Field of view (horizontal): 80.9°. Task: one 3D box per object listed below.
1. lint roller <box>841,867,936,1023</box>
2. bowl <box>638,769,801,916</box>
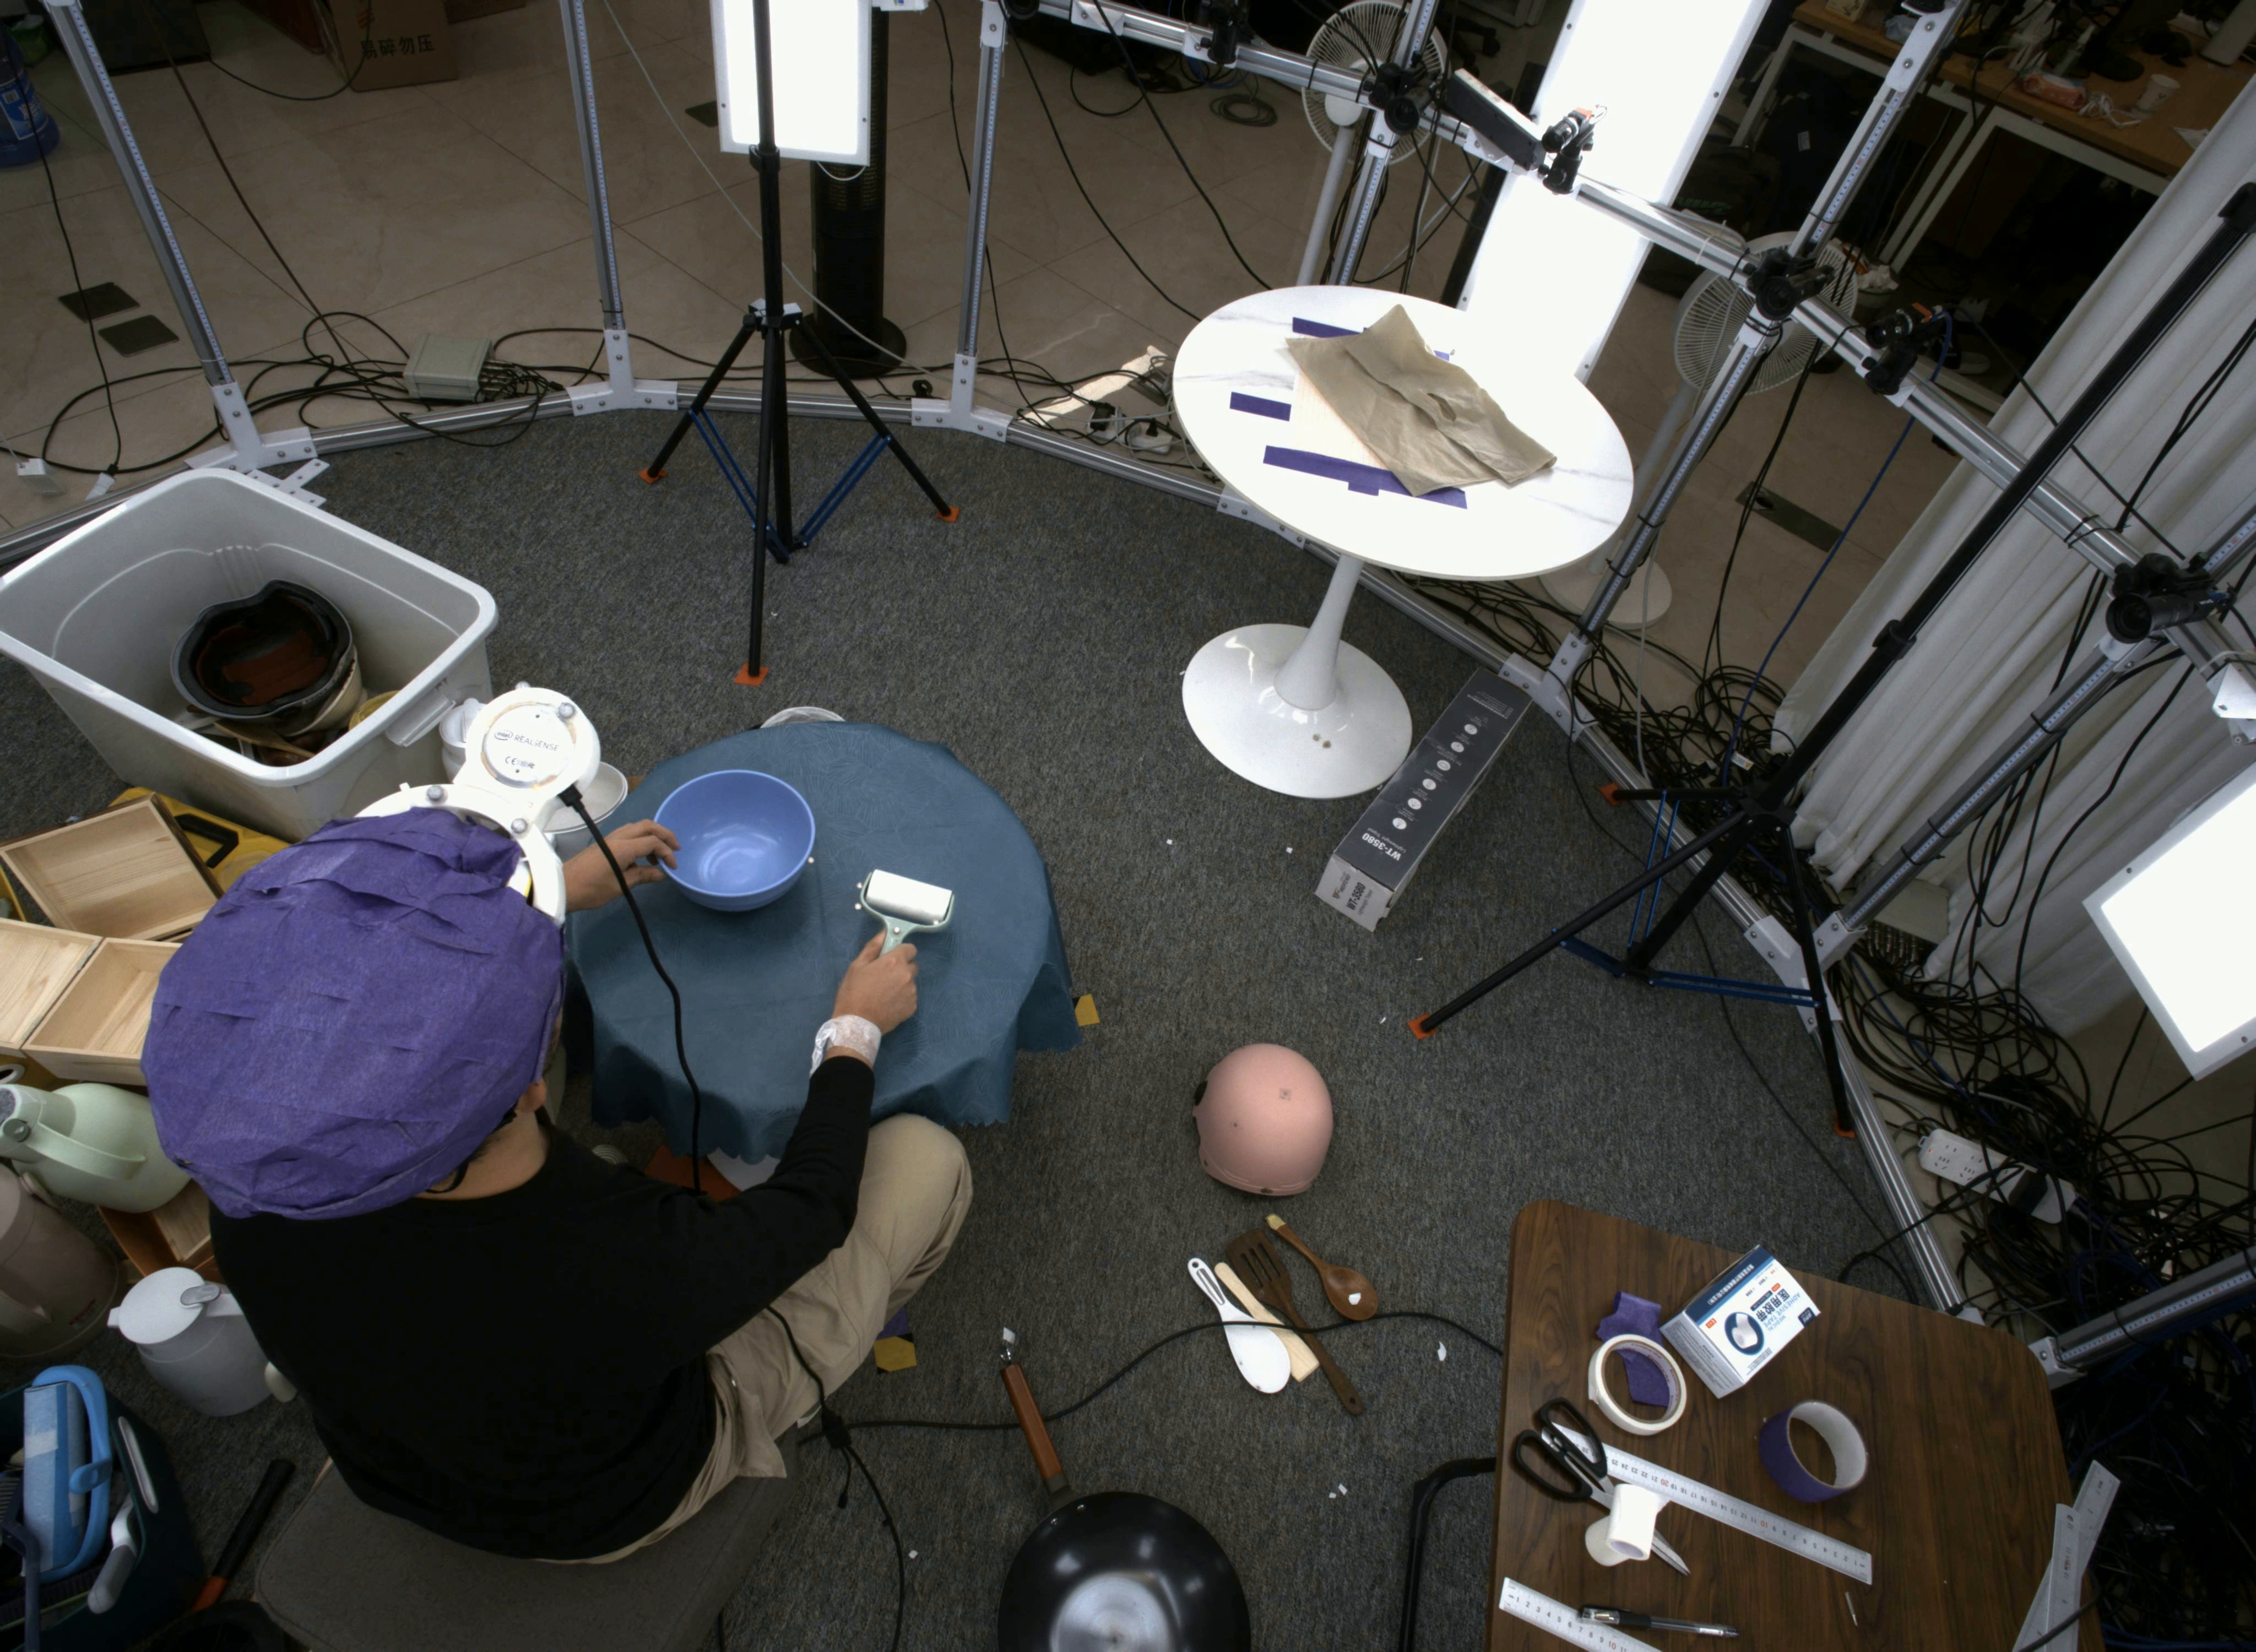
[{"bbox_3d":[-0.306,0.142,1.578,0.117,0.049,0.195,16,53,-9],"label":"lint roller"},{"bbox_3d":[-0.506,0.035,1.609,0.196,0.097,0.193,9,52,-9],"label":"bowl"}]
